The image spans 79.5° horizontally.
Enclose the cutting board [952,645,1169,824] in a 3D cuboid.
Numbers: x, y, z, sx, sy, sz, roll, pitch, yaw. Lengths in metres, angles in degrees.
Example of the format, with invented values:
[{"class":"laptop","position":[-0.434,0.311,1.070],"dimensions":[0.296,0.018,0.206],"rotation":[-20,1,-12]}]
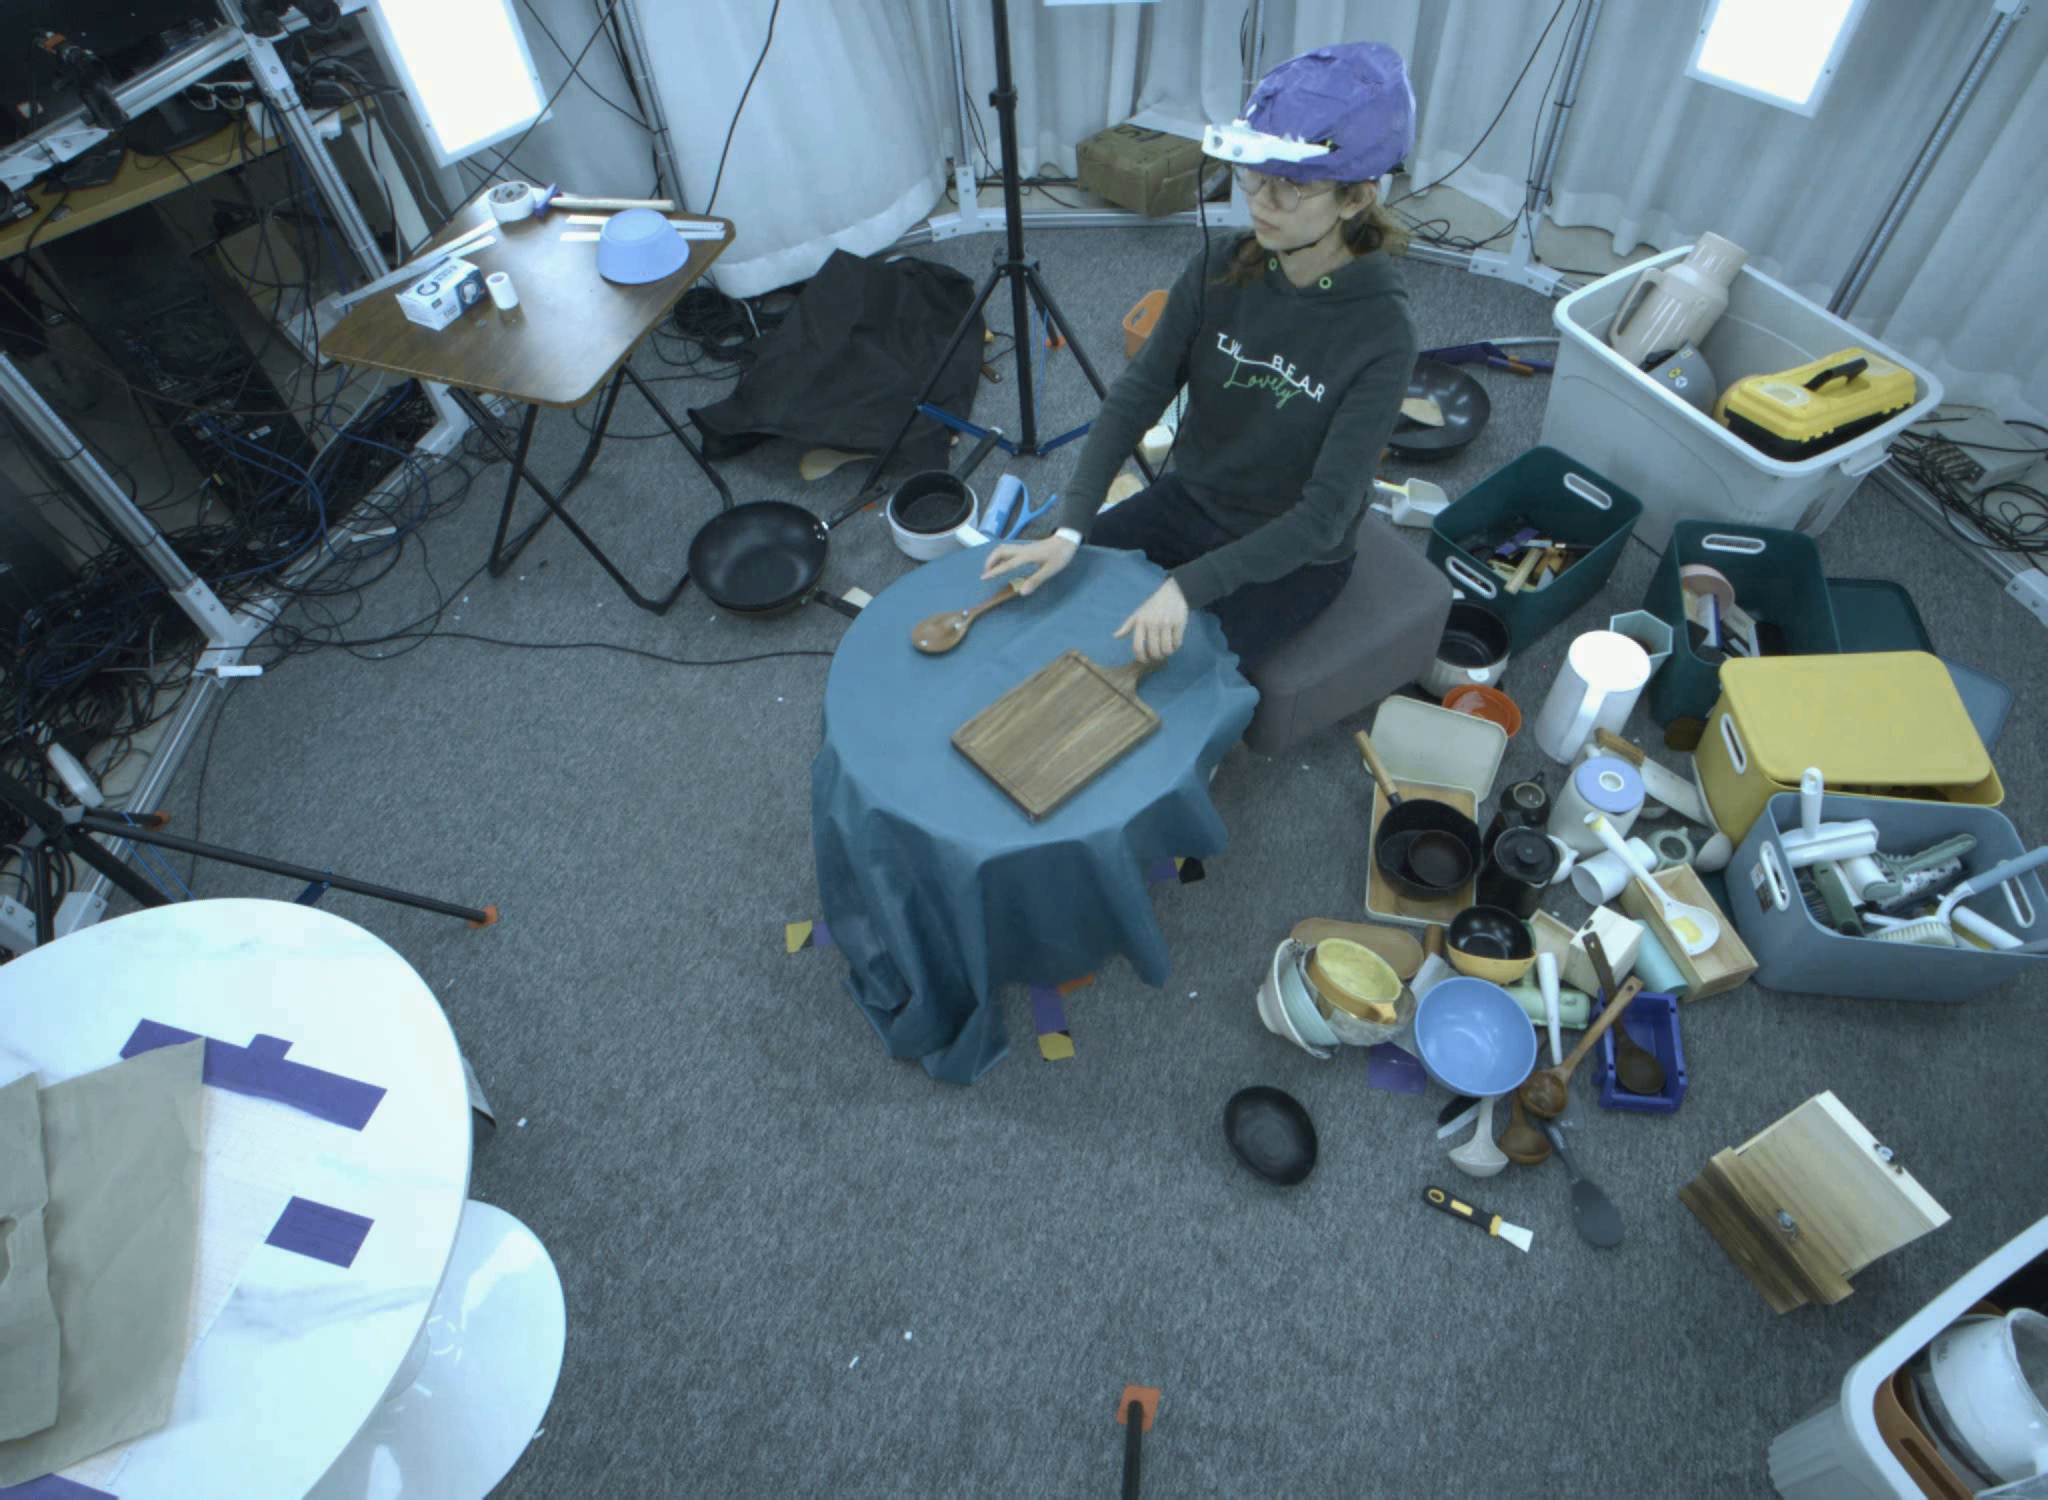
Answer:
[{"class":"cutting board","position":[0.086,-0.051,1.821],"dimensions":[0.355,0.023,0.197],"rotation":[-37,61,-22]}]

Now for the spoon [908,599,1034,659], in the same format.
[{"class":"spoon","position":[-0.081,-0.194,1.934],"dimensions":[0.218,0.017,0.074],"rotation":[-23,60,-19]}]
